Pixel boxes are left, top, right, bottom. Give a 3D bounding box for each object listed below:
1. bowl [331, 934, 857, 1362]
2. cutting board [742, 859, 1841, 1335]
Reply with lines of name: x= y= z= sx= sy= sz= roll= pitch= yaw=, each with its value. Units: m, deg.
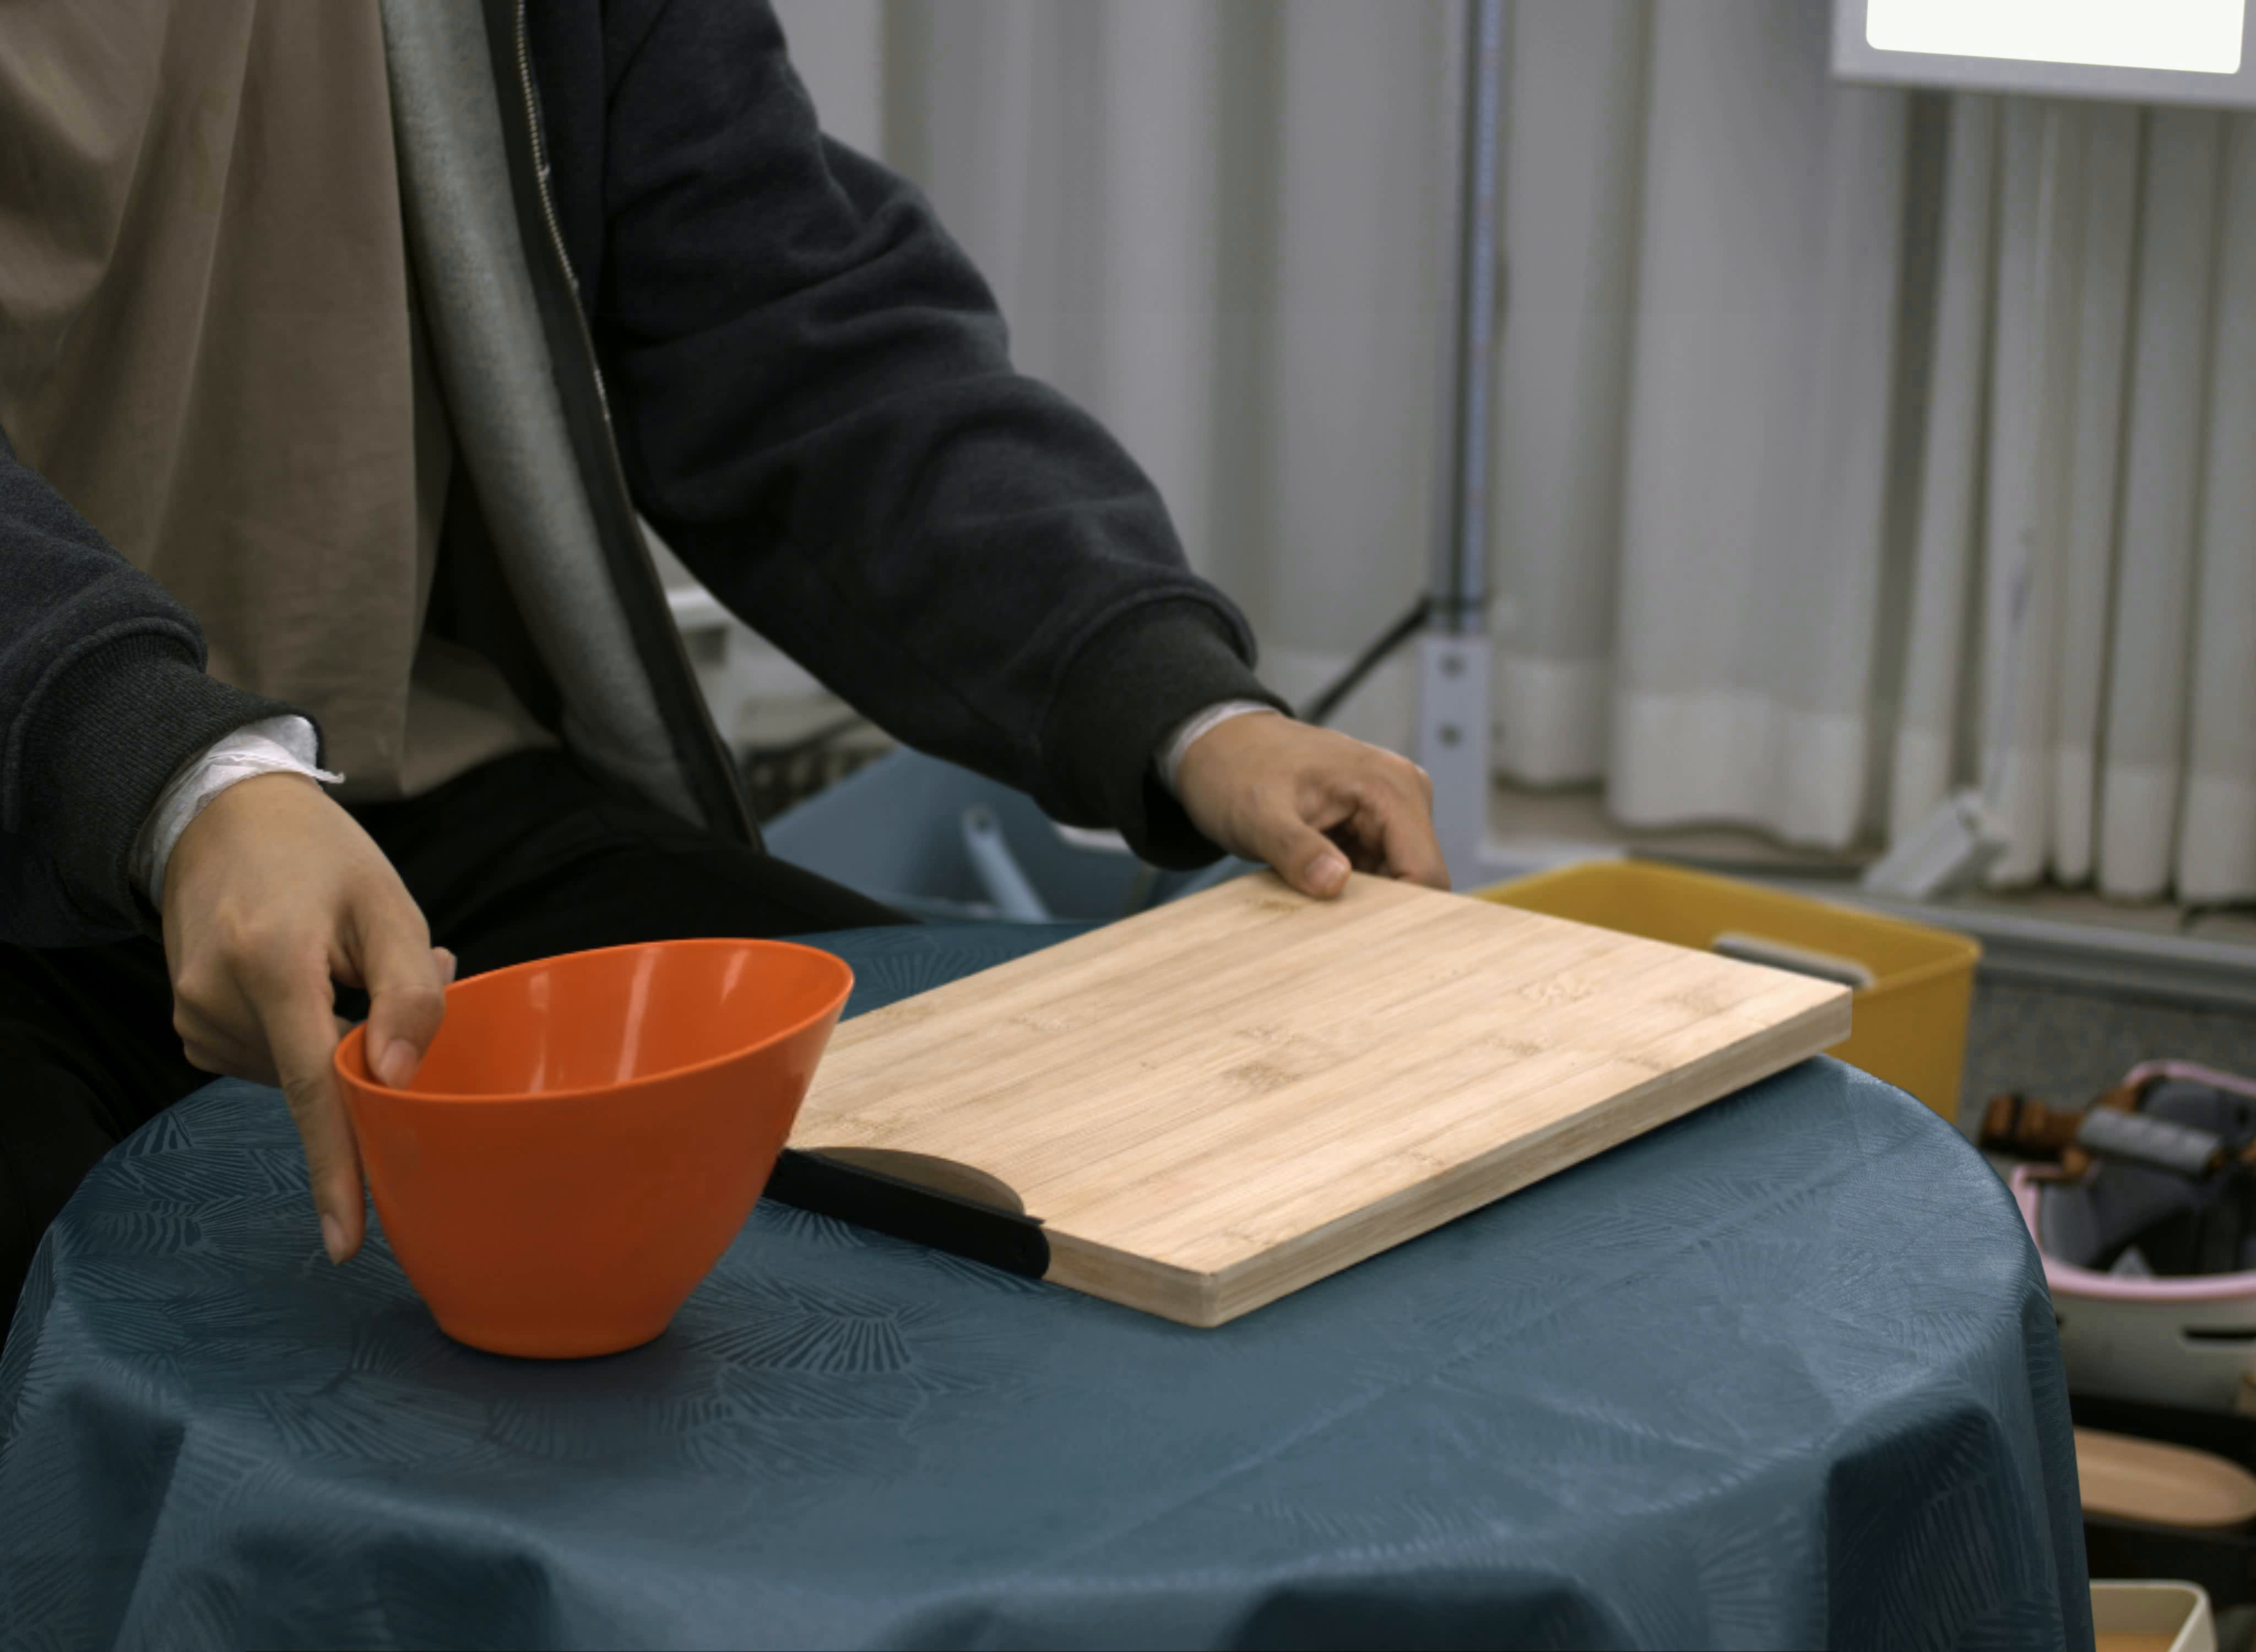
bowl: x=-0.152 y=0.092 z=1.492 sx=0.147 sy=0.105 sz=0.147 roll=3 pitch=17 yaw=0
cutting board: x=0.036 y=0.080 z=1.697 sx=0.247 sy=0.024 sz=0.350 roll=12 pitch=20 yaw=37
